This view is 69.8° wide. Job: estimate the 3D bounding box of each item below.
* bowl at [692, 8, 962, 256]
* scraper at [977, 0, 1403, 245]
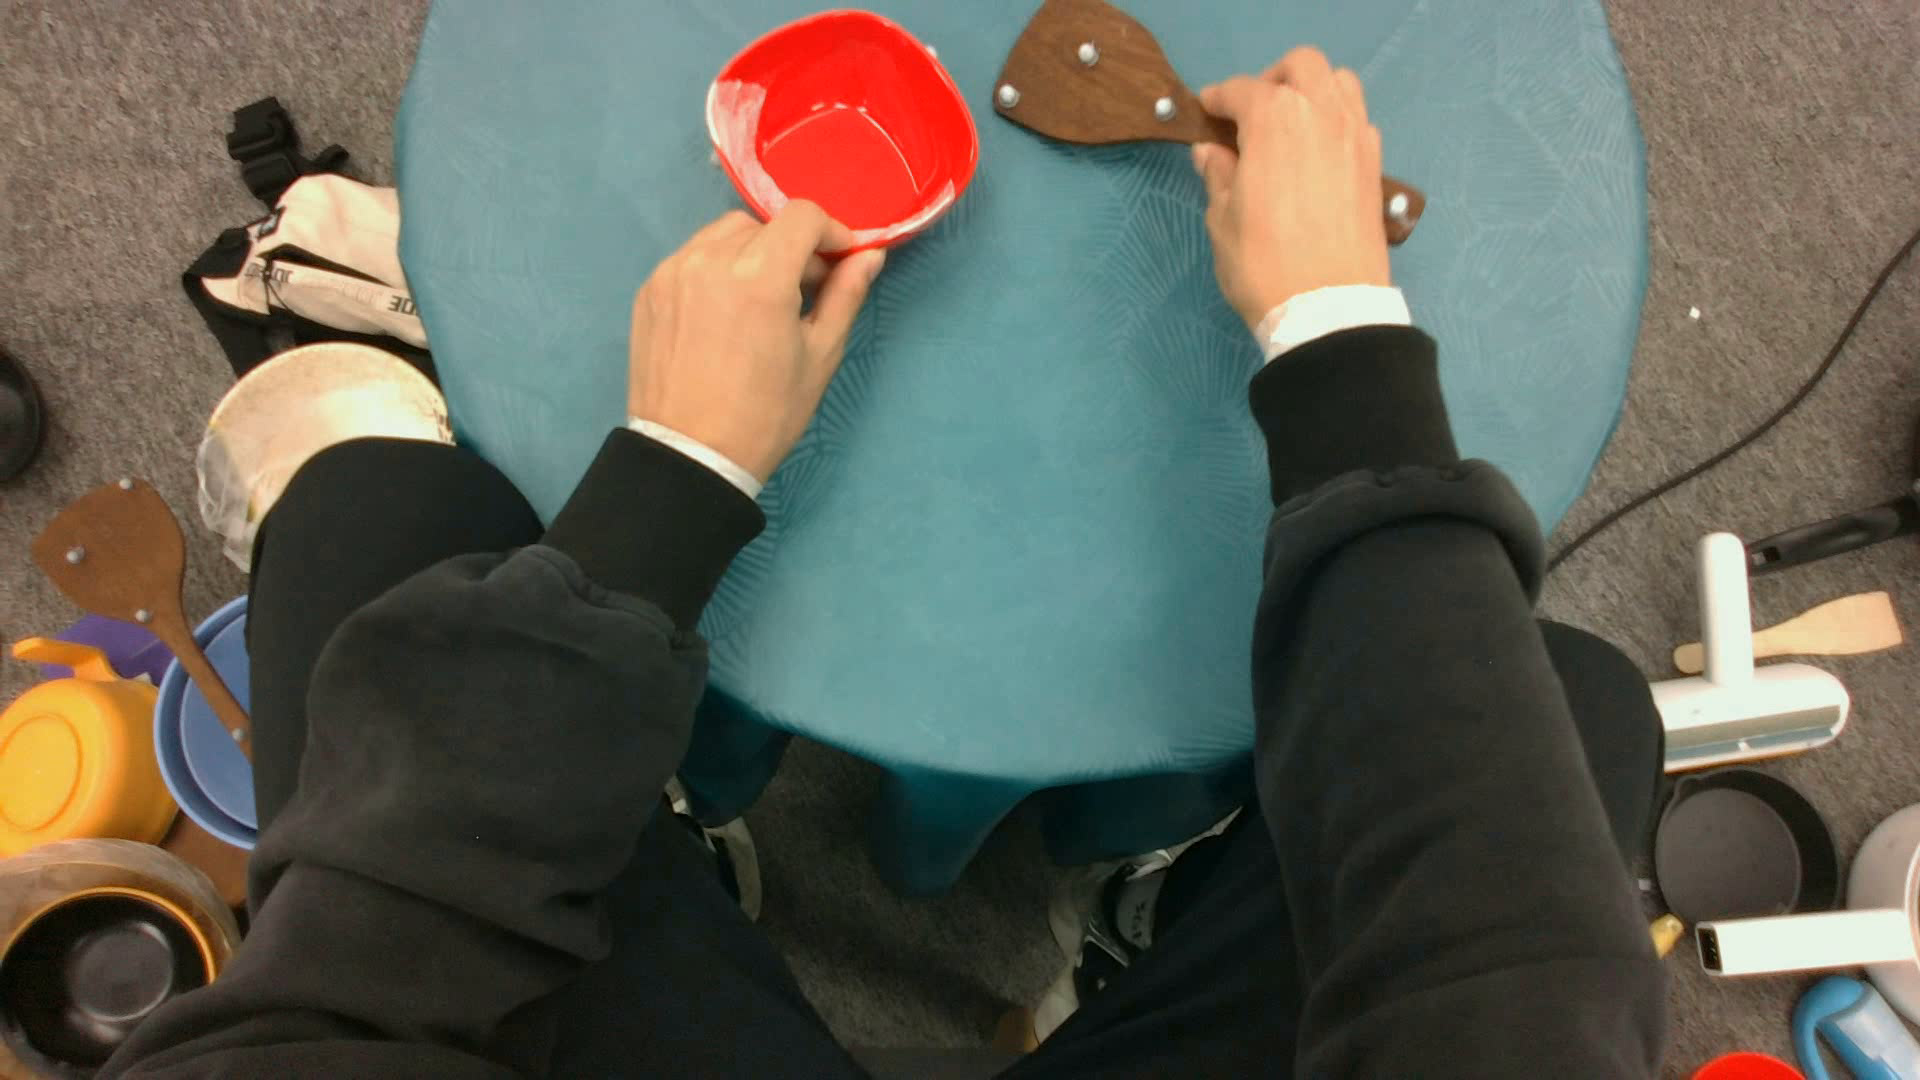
[{"bbox_3d":[-0.061,-0.176,0.627,0.119,0.051,0.119,3,73,-9],"label":"bowl"},{"bbox_3d":[0.108,-0.194,0.646,0.211,0.011,0.076,32,84,16],"label":"scraper"}]
